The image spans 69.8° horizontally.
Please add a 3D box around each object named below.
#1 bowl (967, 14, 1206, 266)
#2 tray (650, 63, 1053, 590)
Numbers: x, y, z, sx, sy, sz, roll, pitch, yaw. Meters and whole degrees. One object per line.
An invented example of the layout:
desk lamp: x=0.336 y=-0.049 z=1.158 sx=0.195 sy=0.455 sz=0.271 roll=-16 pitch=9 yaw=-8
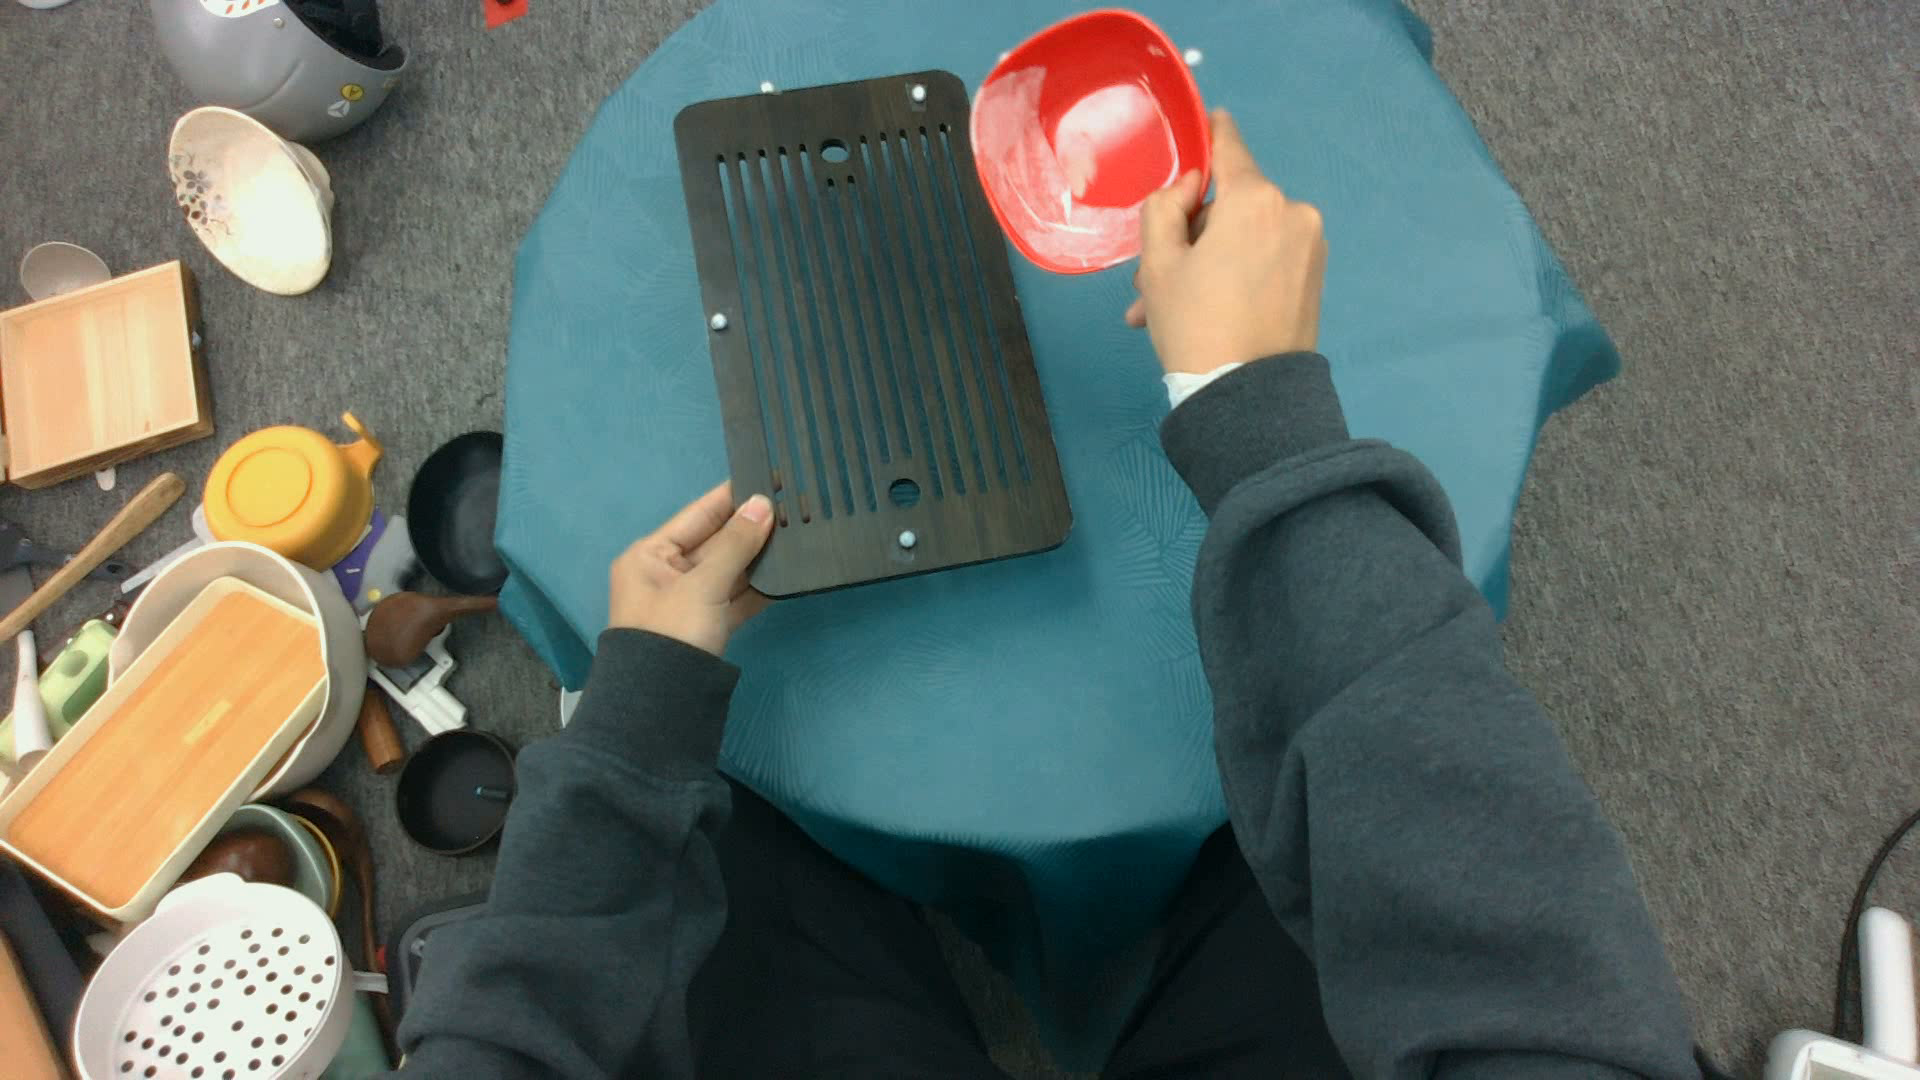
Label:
bowl: x=0.066 y=-0.190 z=0.670 sx=0.119 sy=0.051 sz=0.119 roll=2 pitch=97 yaw=18
tray: x=-0.065 y=-0.126 z=0.750 sx=0.170 sy=0.018 sz=0.306 roll=-10 pitch=69 yaw=-7
